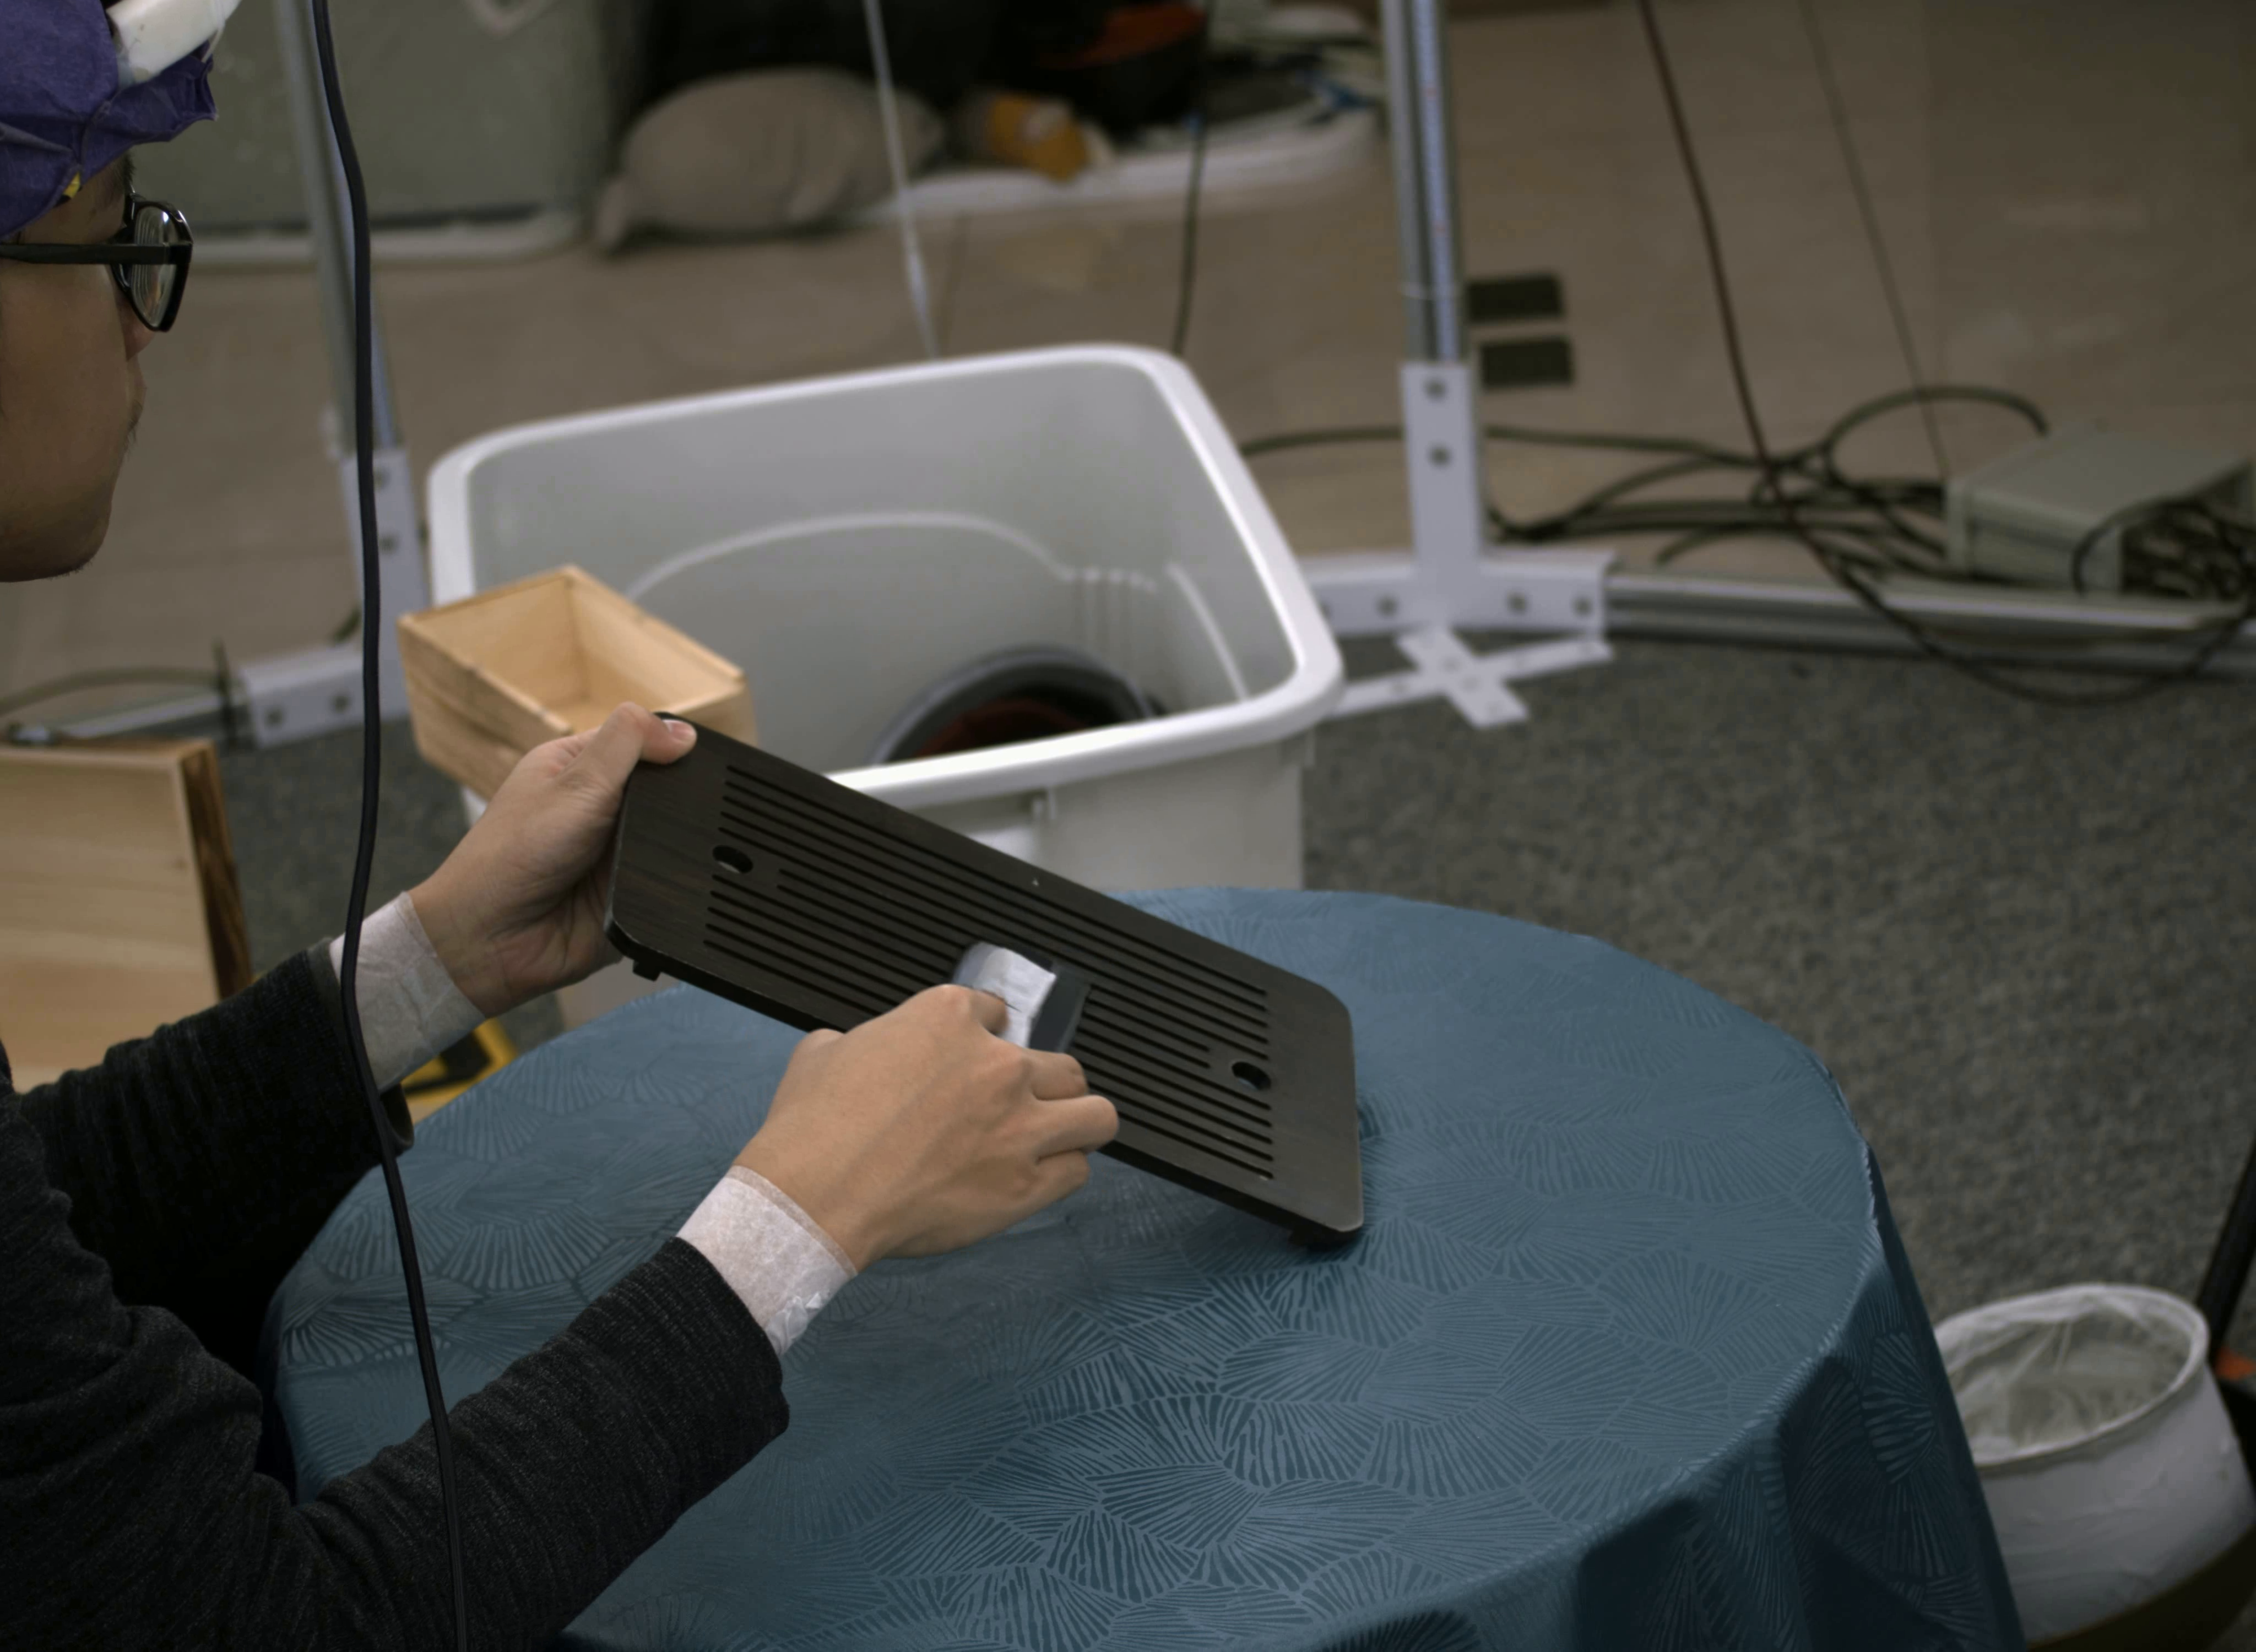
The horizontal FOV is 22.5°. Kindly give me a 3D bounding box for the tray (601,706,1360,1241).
[{"bbox_3d":[-0.053,0.056,2.127,0.307,0.019,0.167,23,28,-13],"label":"tray"}]

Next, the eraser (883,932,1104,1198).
[{"bbox_3d":[-0.048,0.084,2.041,0.053,0.031,0.123,27,29,-2],"label":"eraser"}]
